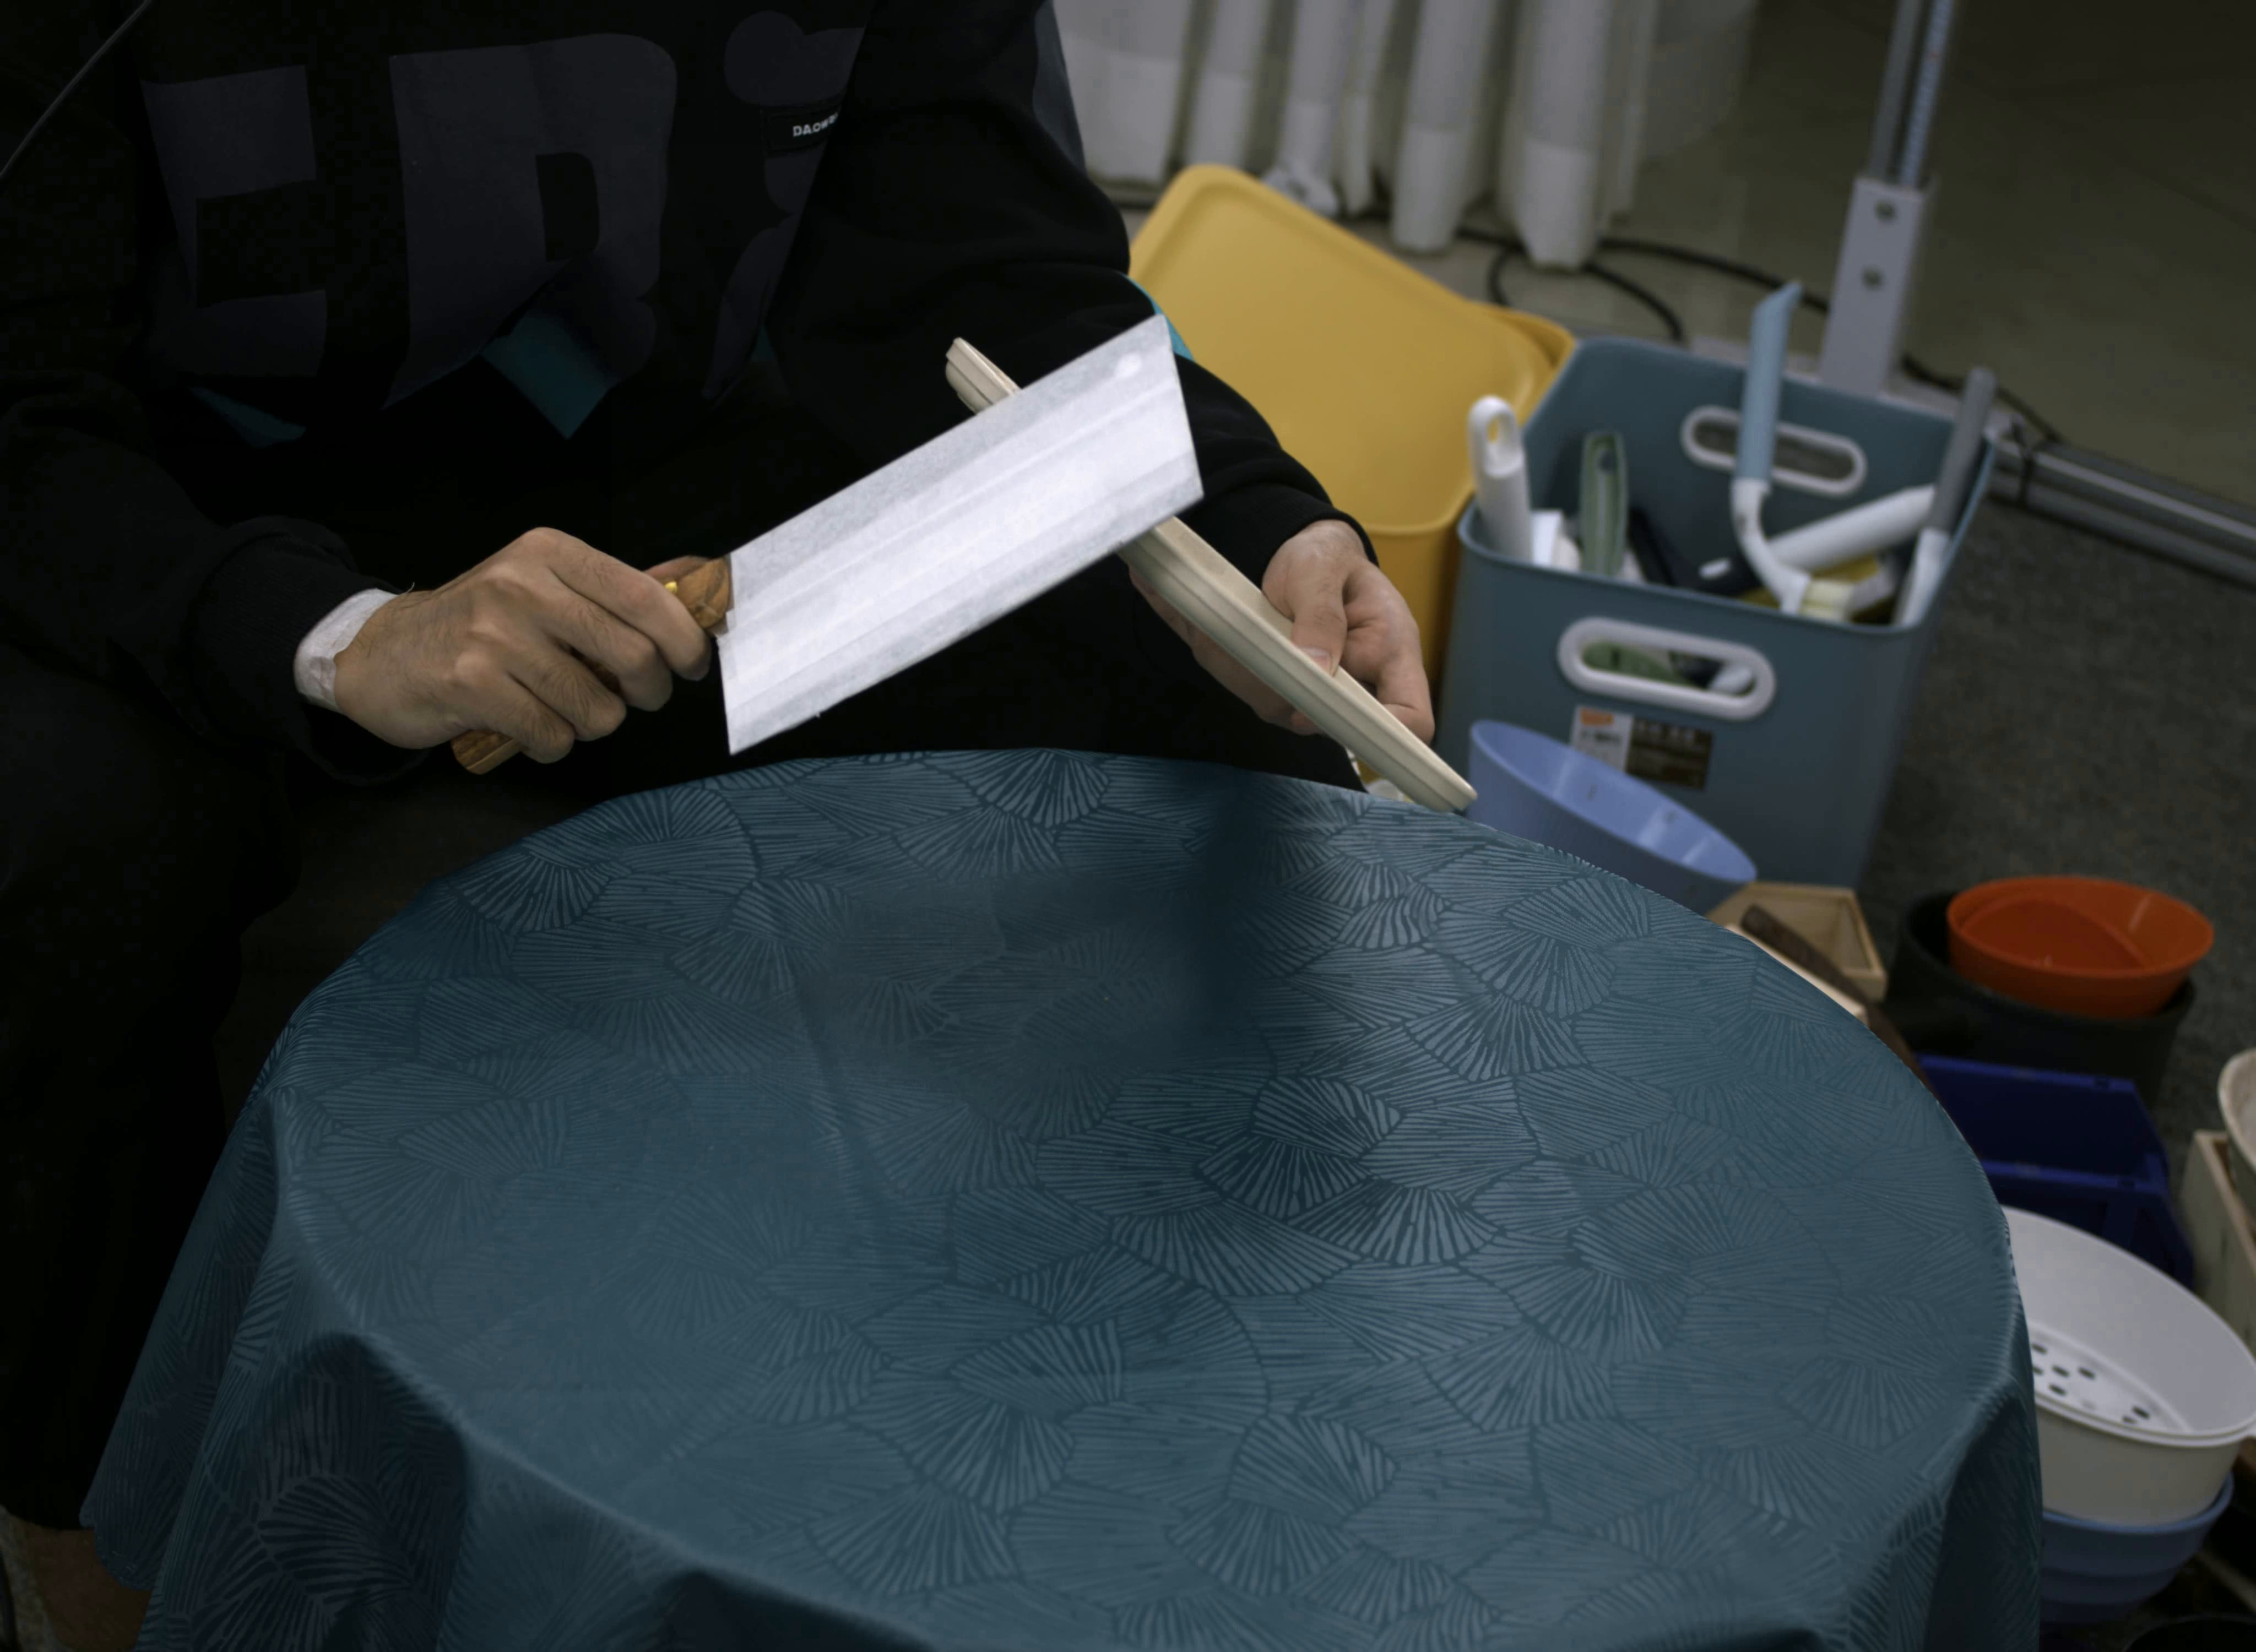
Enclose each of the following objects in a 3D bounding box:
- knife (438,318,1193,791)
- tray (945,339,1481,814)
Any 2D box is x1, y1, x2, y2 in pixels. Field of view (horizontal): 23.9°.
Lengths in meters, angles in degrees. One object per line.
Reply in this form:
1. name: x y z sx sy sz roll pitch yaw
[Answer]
1. knife: -0.109 -0.074 1.813 0.306 0.021 0.094 -28 46 19
2. tray: 0.025 -0.088 1.889 0.170 0.017 0.242 37 6 -33
